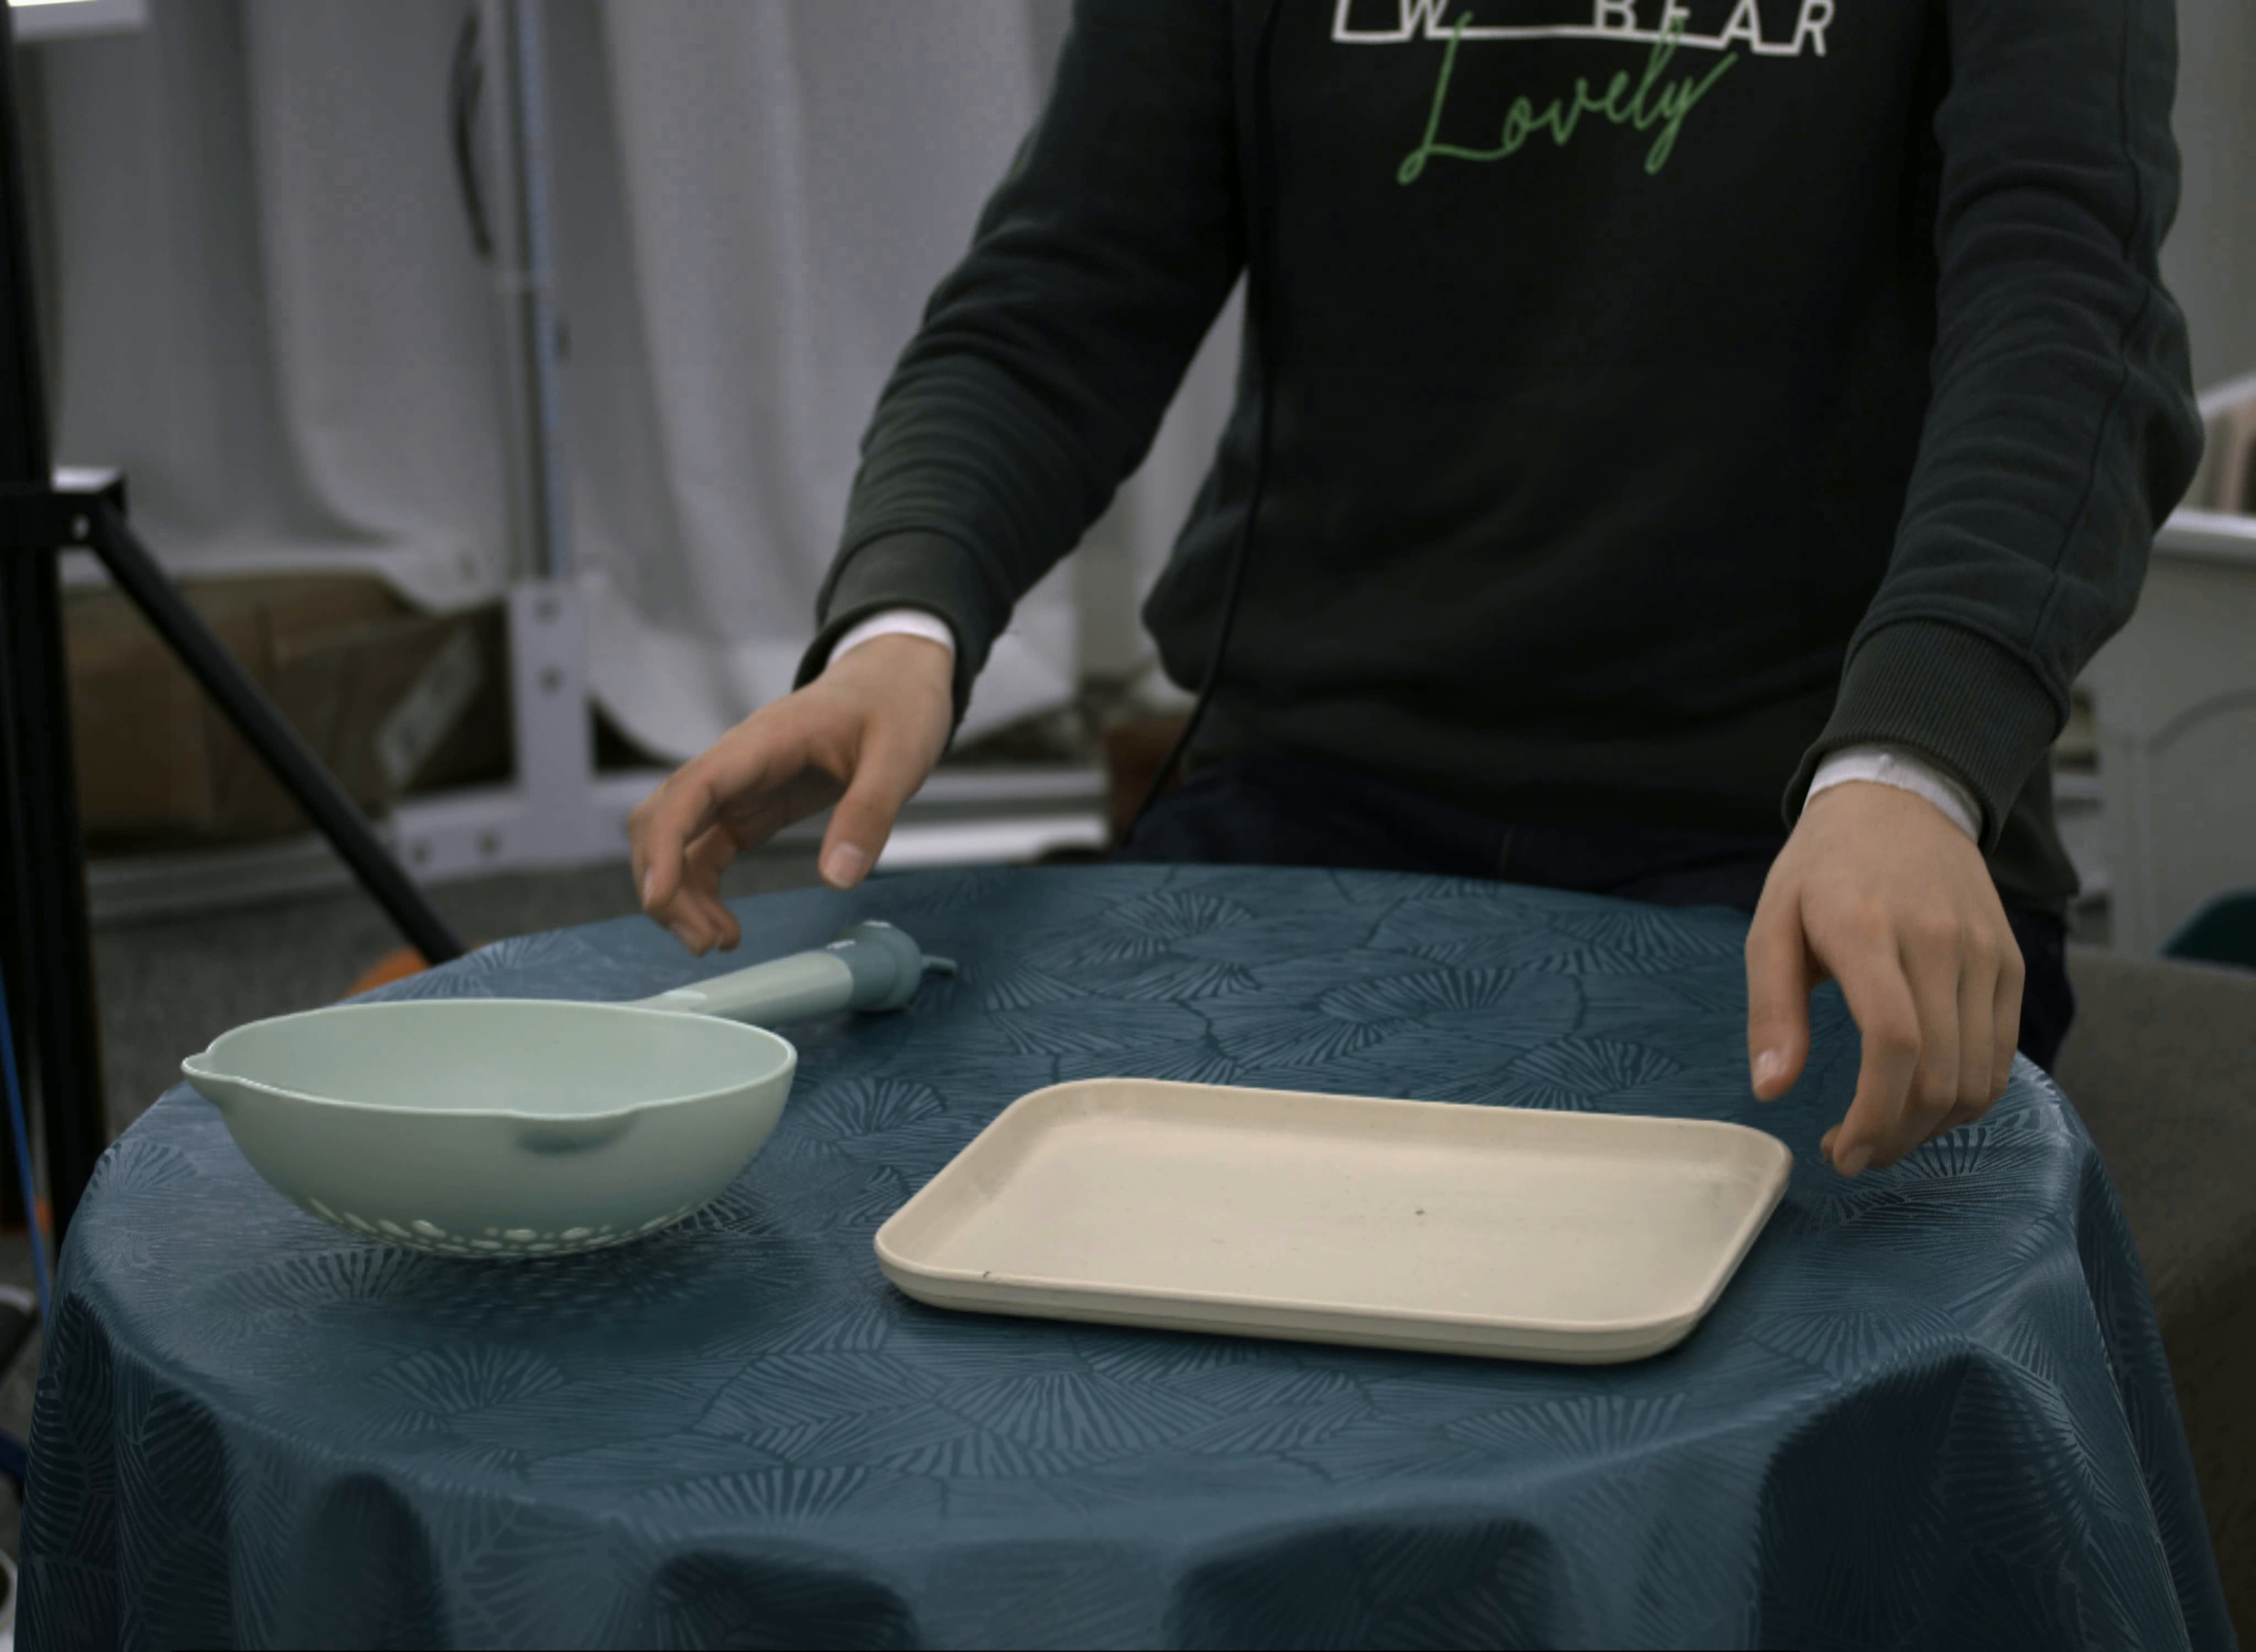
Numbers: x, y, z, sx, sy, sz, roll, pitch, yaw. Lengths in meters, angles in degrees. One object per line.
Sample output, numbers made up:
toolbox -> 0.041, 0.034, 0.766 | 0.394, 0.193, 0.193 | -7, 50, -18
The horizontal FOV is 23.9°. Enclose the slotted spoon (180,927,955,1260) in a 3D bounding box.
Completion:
slotted spoon -> -0.139, 0.065, 1.616 | 0.172, 0.075, 0.353 | 6, 17, 25

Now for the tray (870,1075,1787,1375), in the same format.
tray -> 0.059, 0.113, 1.503 | 0.242, 0.017, 0.169 | 4, 17, 20
